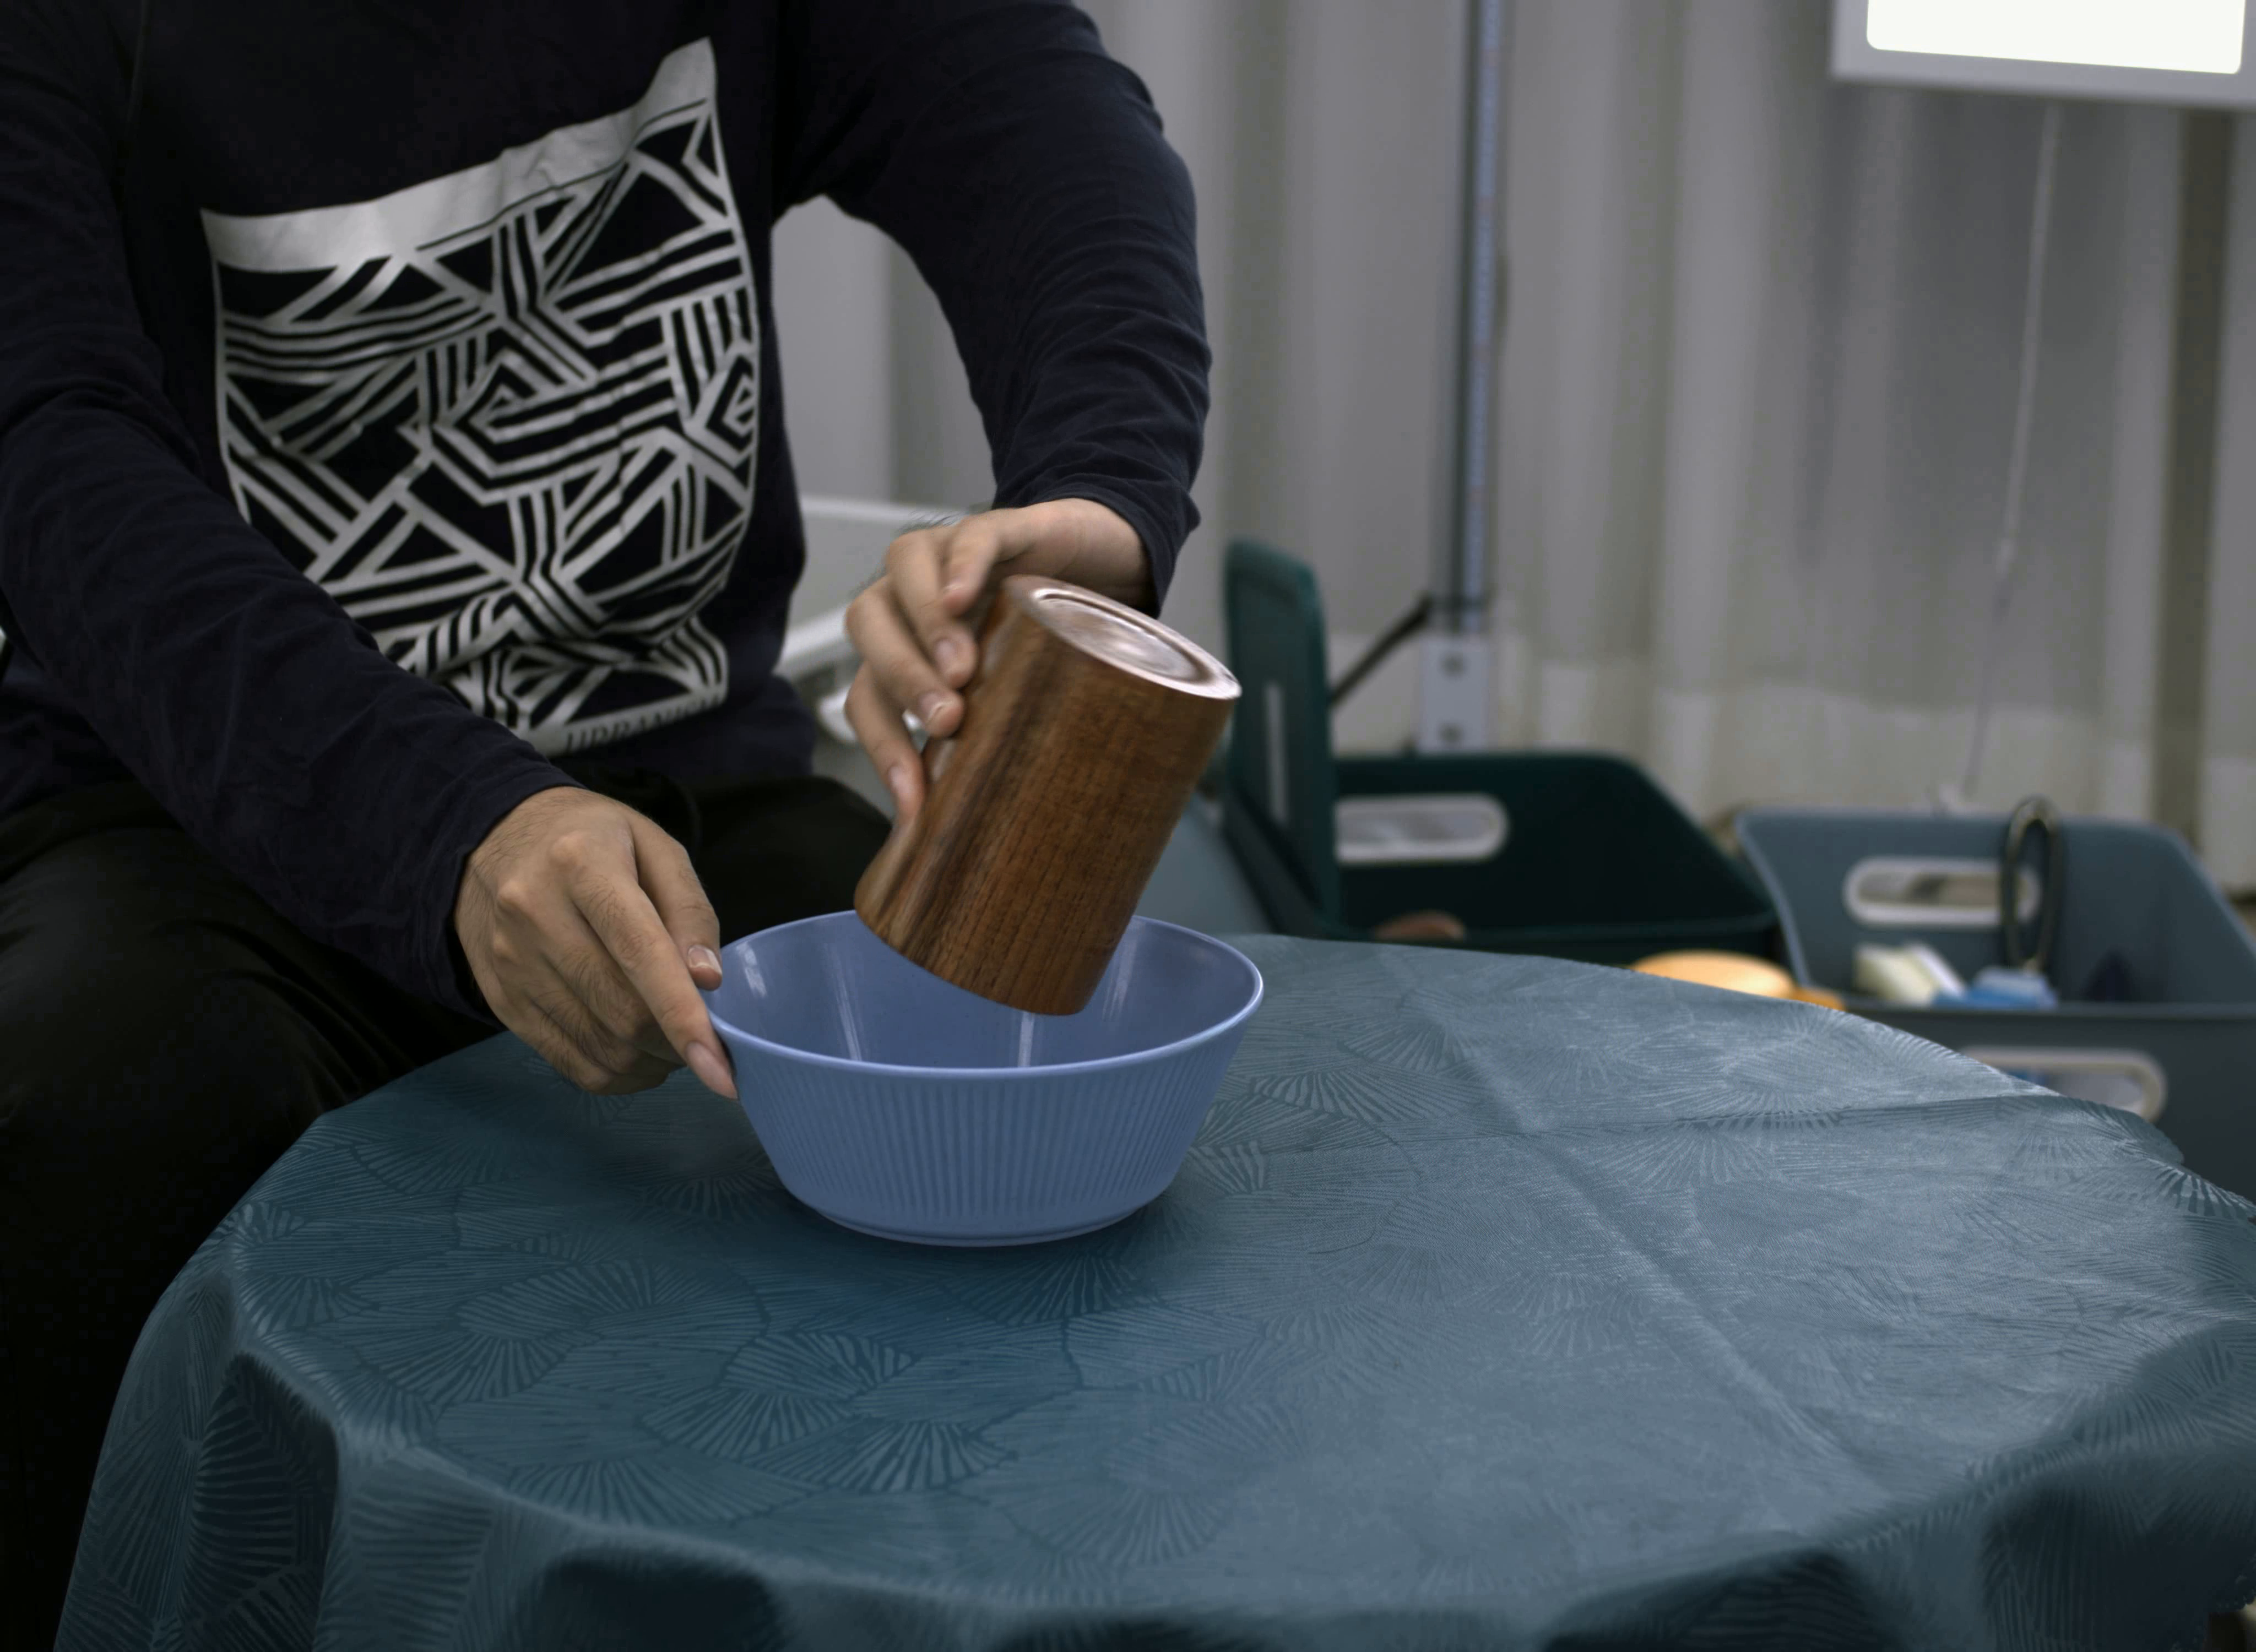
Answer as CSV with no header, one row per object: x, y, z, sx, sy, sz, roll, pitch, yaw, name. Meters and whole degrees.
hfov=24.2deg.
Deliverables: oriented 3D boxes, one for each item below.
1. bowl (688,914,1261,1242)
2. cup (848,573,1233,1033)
-0.047,0.078,1.615,0.175,0.071,0.175,1,15,0,bowl
-0.026,-0.006,1.594,0.088,0.119,0.087,22,17,-6,cup
